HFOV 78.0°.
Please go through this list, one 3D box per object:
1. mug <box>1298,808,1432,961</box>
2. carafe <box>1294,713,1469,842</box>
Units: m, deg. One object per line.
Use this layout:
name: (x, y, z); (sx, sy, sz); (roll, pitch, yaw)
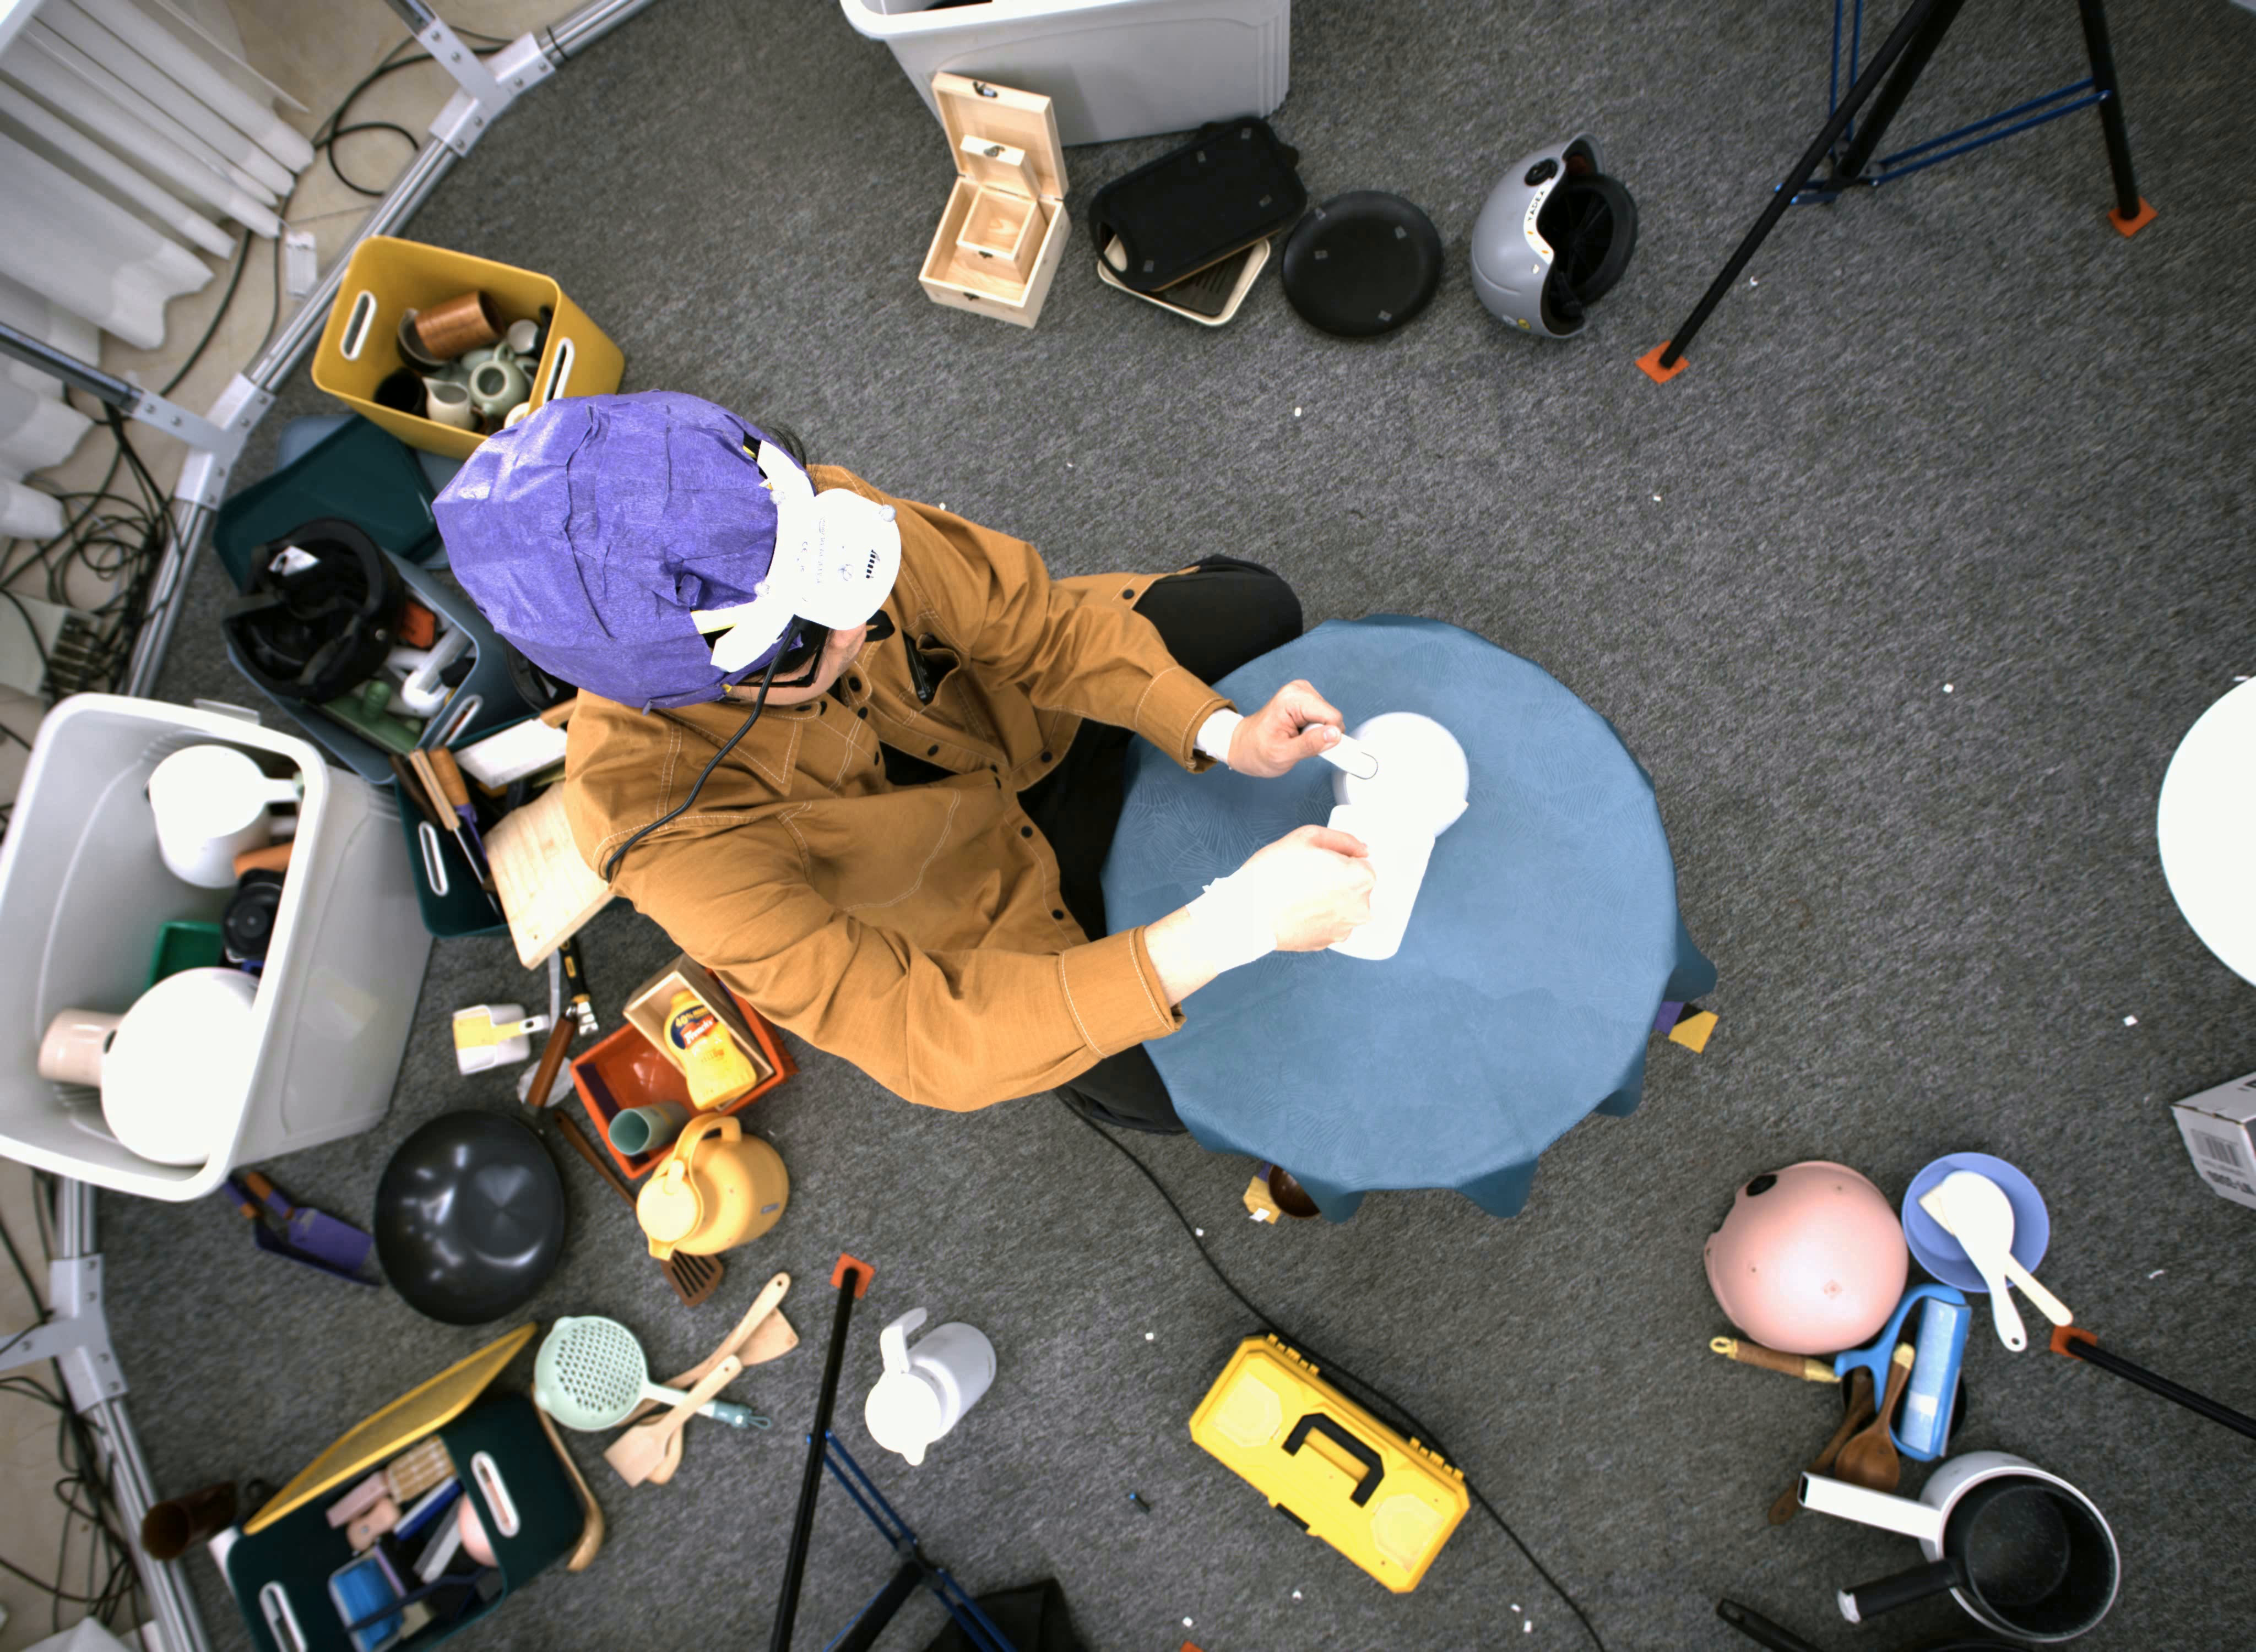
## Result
mug: (0.182, 0.049, 1.101); (0.085, 0.116, 0.103); (22, 109, 24)
carafe: (0.236, -0.050, 1.290); (0.167, 0.246, 0.133); (27, 99, 9)
